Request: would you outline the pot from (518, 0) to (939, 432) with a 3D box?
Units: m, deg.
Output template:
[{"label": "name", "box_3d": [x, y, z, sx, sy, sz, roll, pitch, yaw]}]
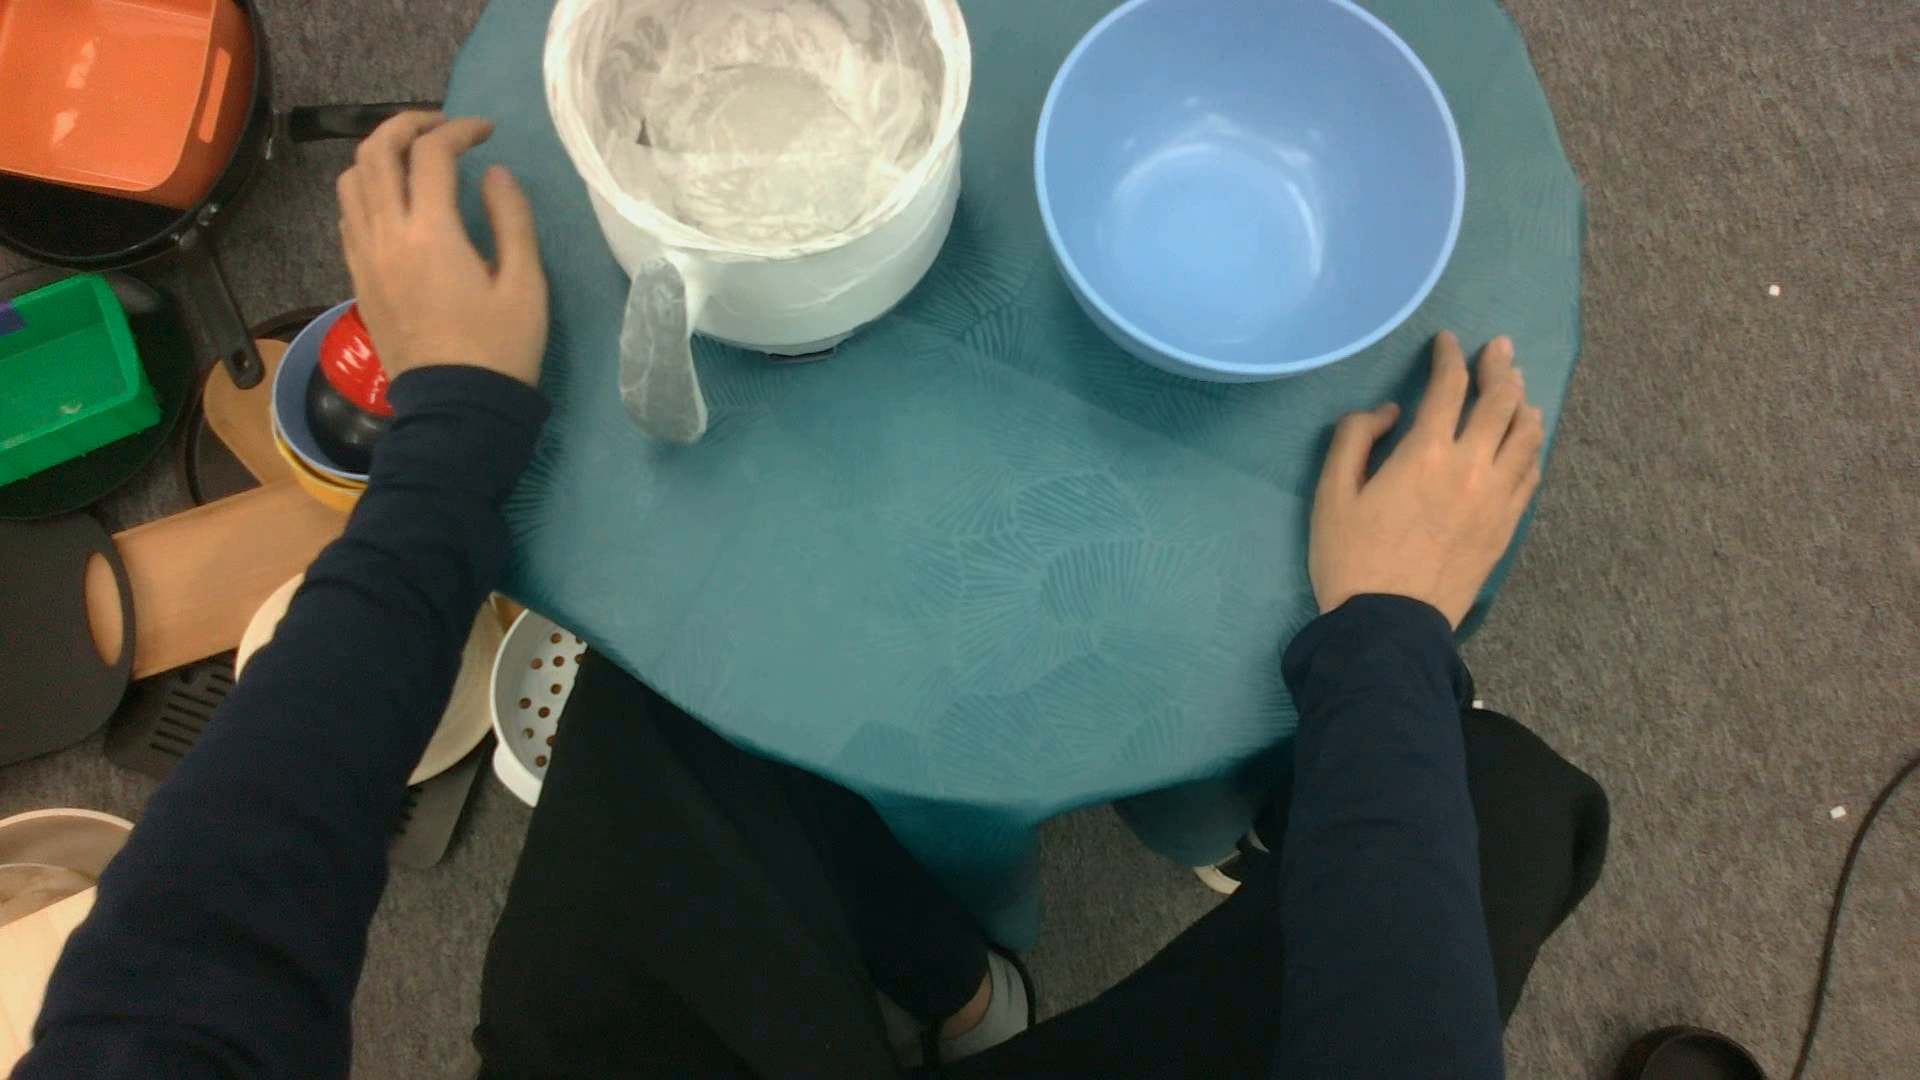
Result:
[{"label": "pot", "box_3d": [-0.108, -0.168, 0.635, 0.179, 0.136, 0.234, 19, 76, 3]}]

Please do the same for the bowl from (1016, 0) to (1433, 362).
[{"label": "bowl", "box_3d": [0.116, -0.167, 0.671, 0.196, 0.095, 0.197, 2, 74, -7]}]
